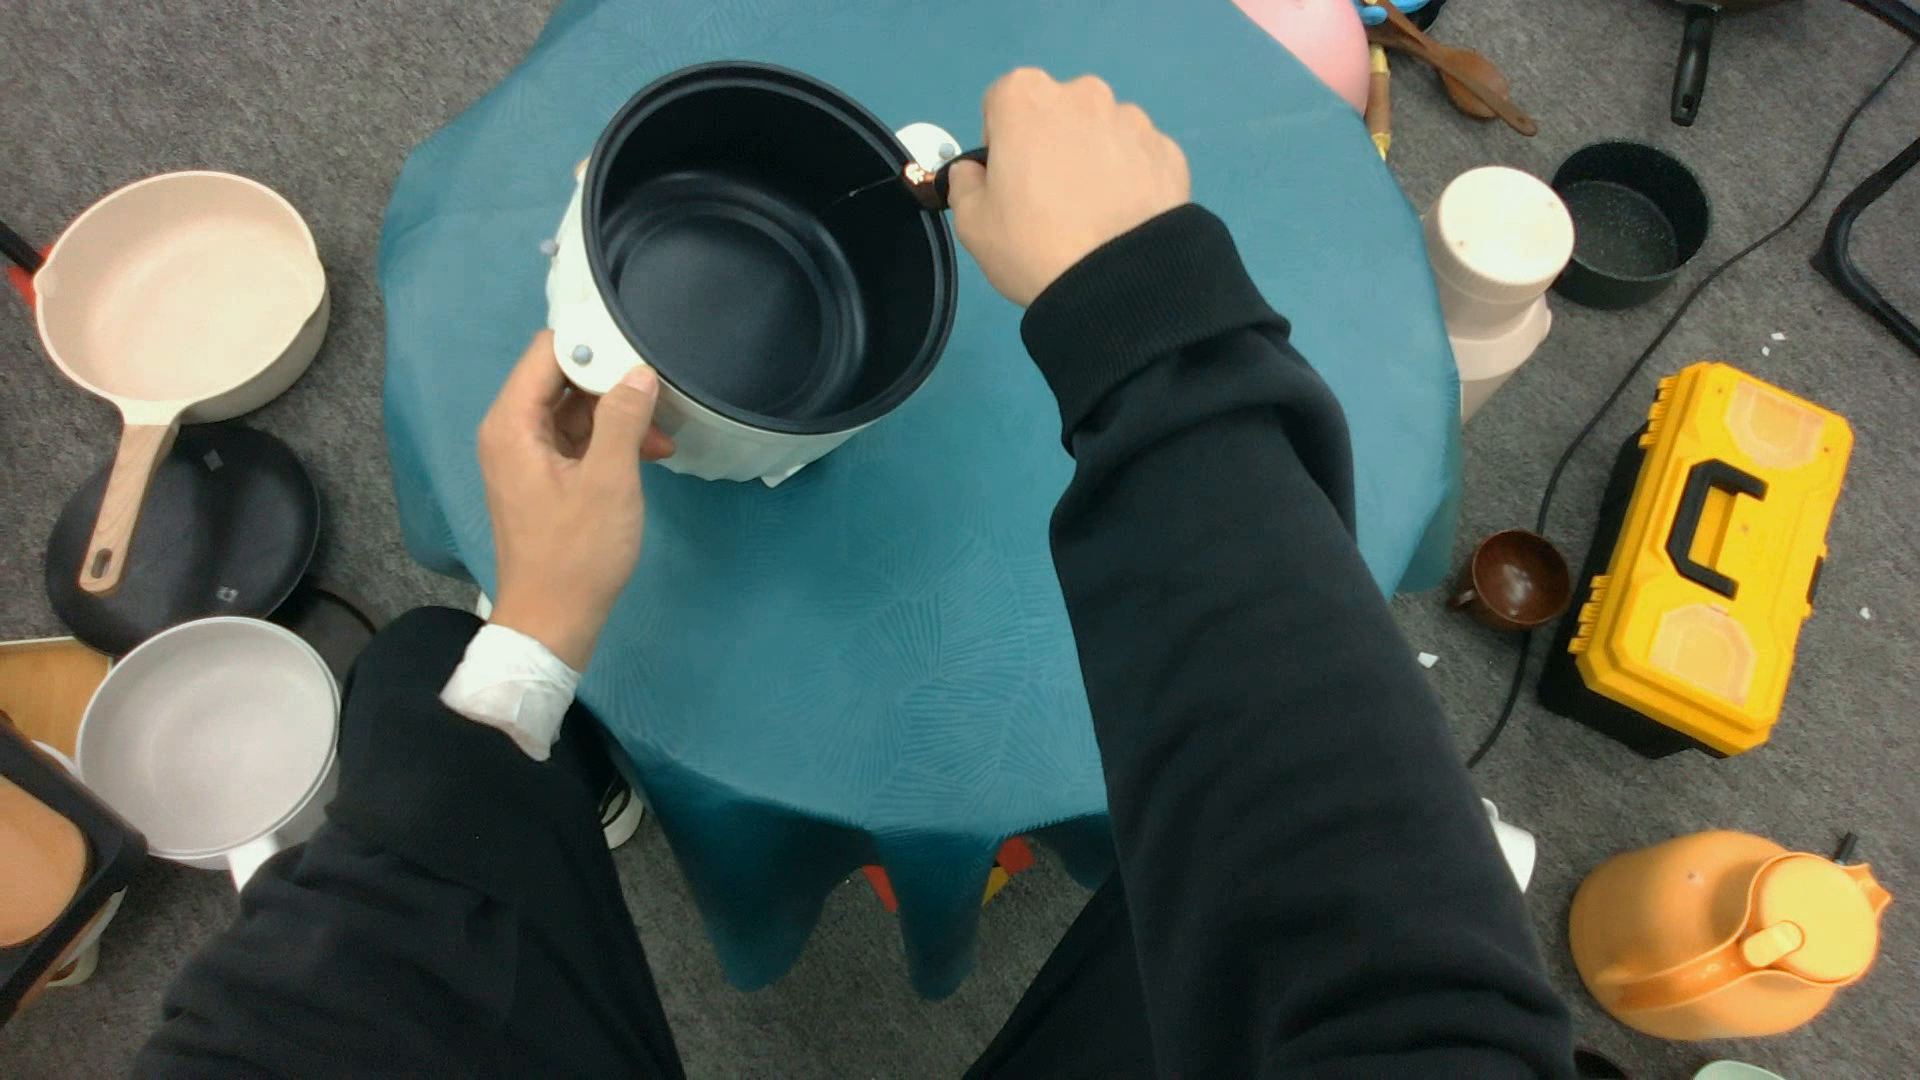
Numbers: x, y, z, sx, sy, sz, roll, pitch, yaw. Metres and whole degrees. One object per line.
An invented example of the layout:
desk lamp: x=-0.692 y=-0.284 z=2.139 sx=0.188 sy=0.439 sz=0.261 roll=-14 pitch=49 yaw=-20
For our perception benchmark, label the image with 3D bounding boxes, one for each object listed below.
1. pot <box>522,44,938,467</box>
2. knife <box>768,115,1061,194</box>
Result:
pot: x=-0.126 y=-0.134 z=0.686 sx=0.241 sy=0.142 sz=0.190 roll=-40 pitch=102 yaw=-31
knife: x=-0.030 y=-0.173 z=0.637 sx=0.026 sy=0.225 sz=0.017 roll=11 pitch=89 yaw=-36
